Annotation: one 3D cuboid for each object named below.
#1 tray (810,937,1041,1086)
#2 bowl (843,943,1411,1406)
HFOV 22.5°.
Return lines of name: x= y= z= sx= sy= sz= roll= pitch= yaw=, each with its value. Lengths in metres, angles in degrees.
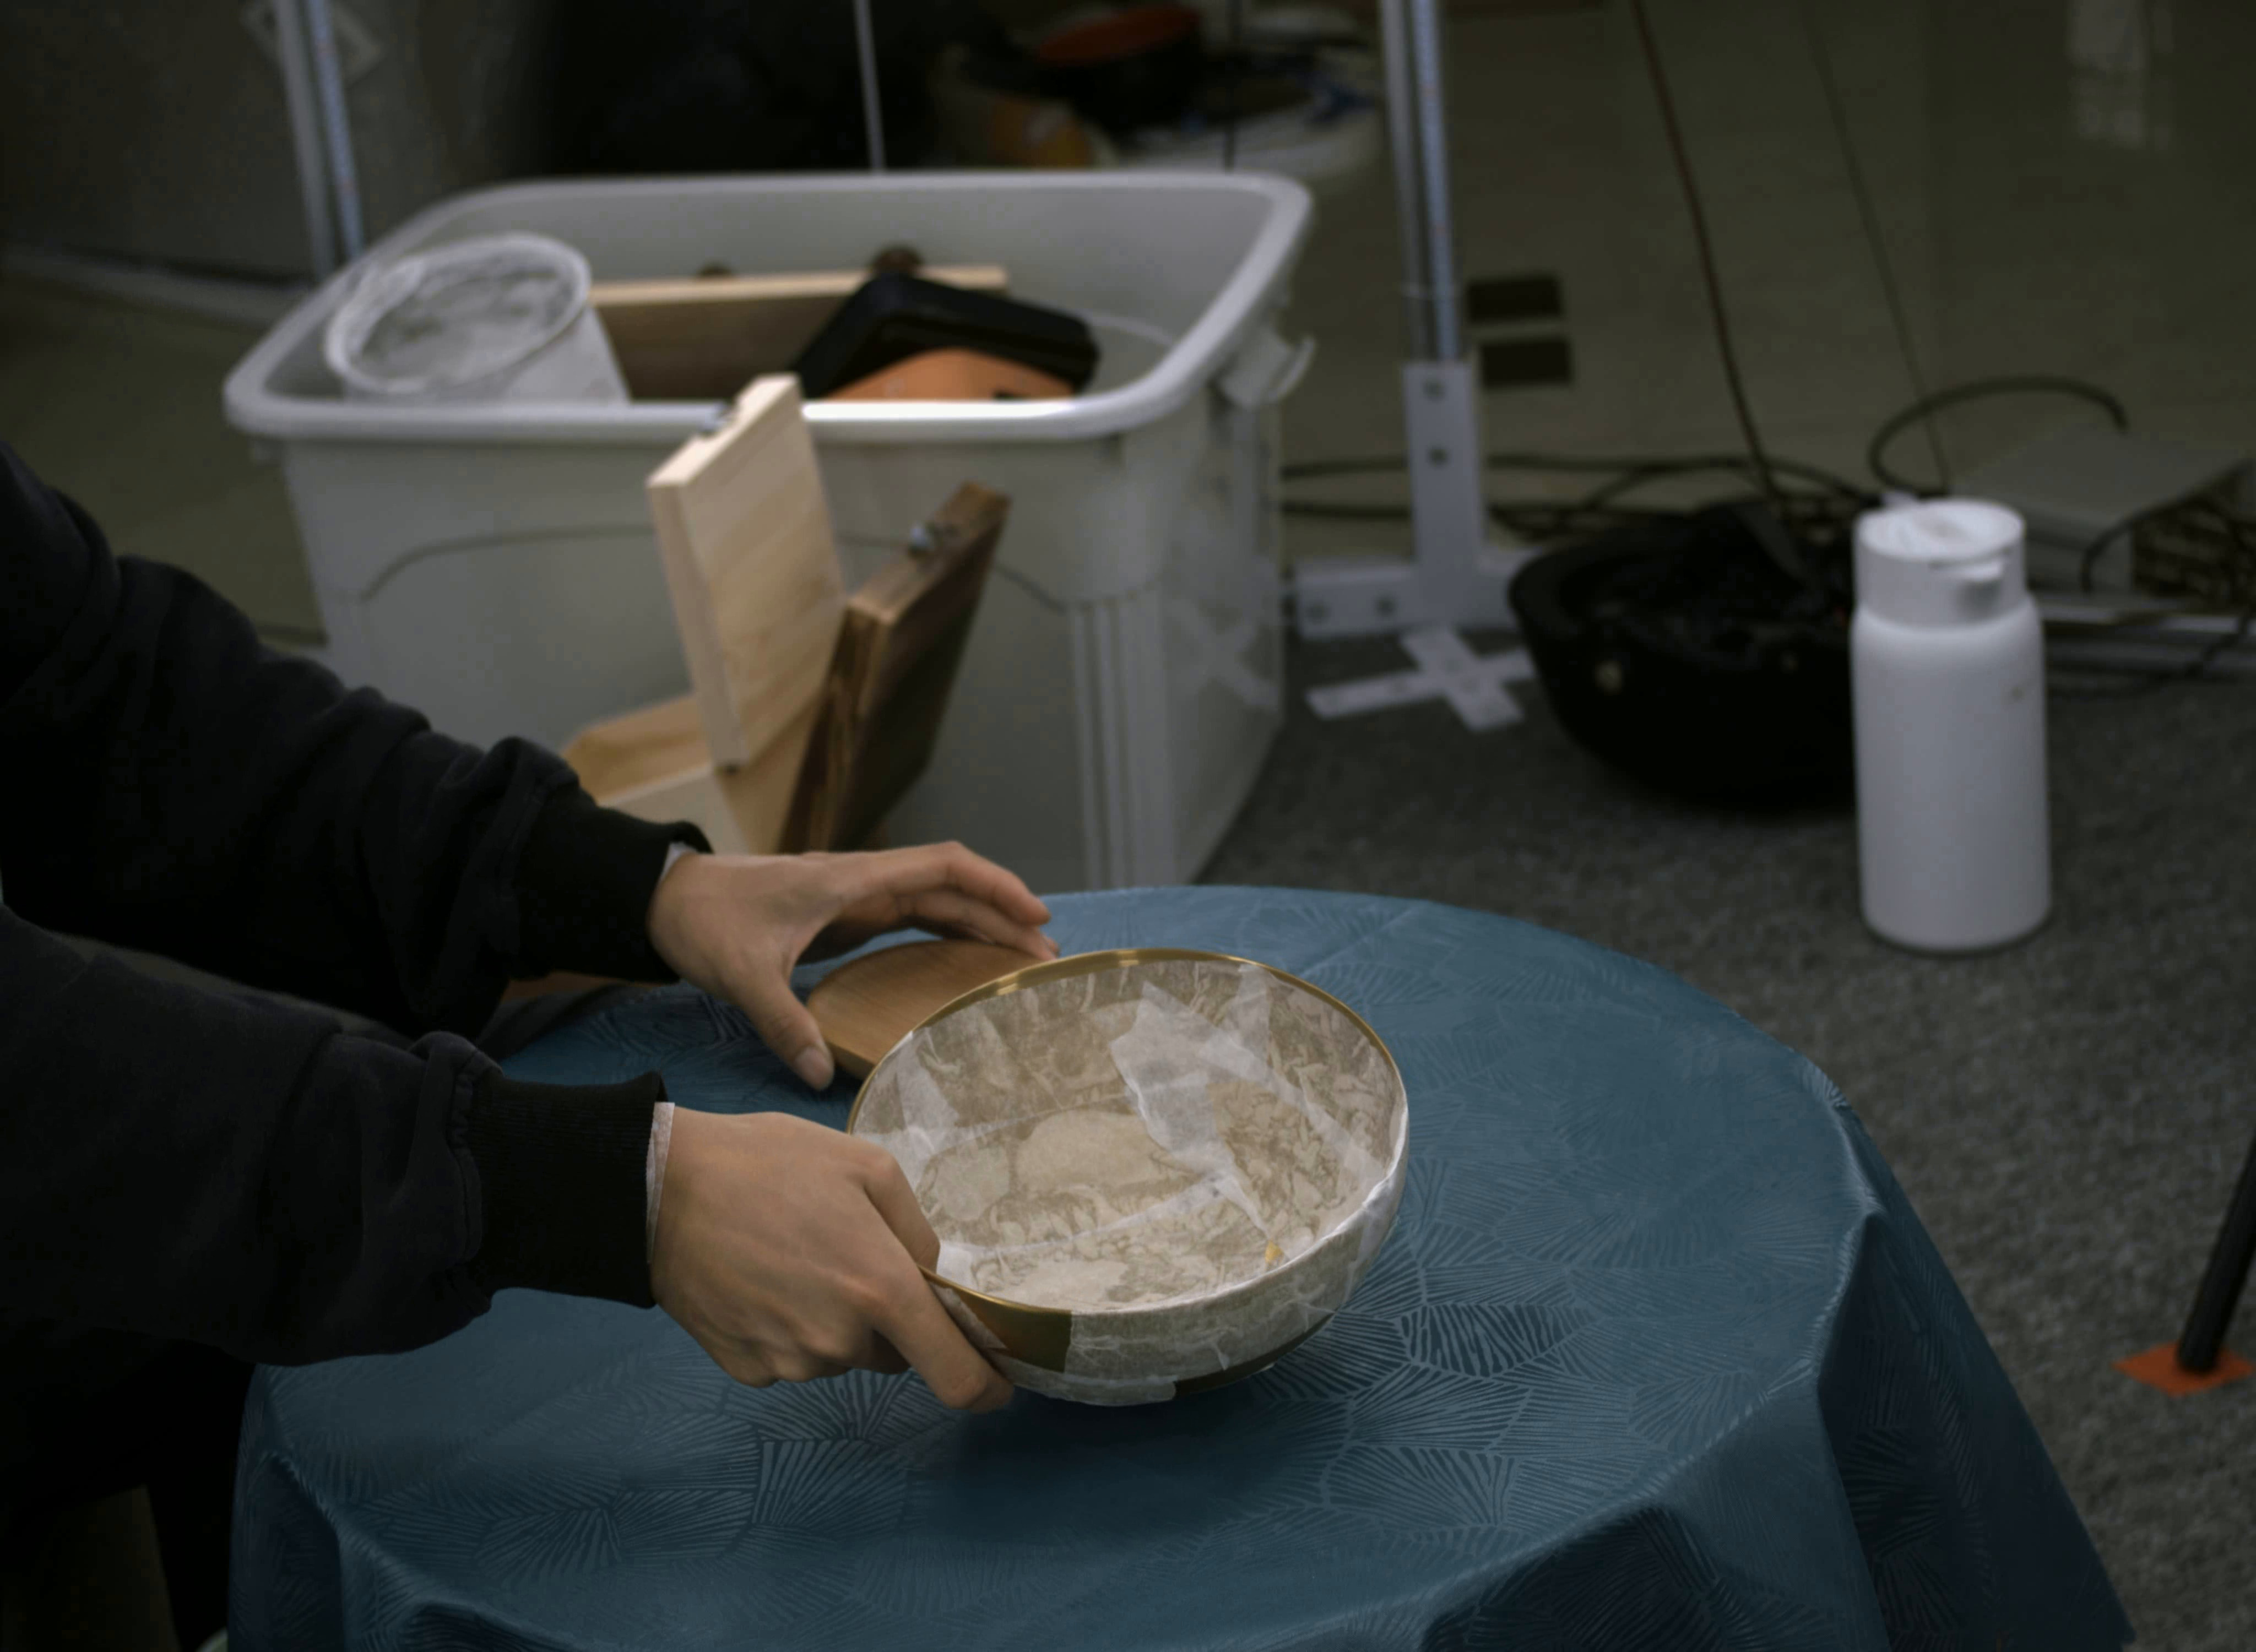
tray: x=-0.033 y=0.095 z=2.228 sx=0.101 sy=0.021 sz=0.229 roll=-29 pitch=37 yaw=-34
bowl: x=0.002 y=0.137 z=2.031 sx=0.214 sy=0.096 sz=0.211 roll=-4 pitch=38 yaw=4
